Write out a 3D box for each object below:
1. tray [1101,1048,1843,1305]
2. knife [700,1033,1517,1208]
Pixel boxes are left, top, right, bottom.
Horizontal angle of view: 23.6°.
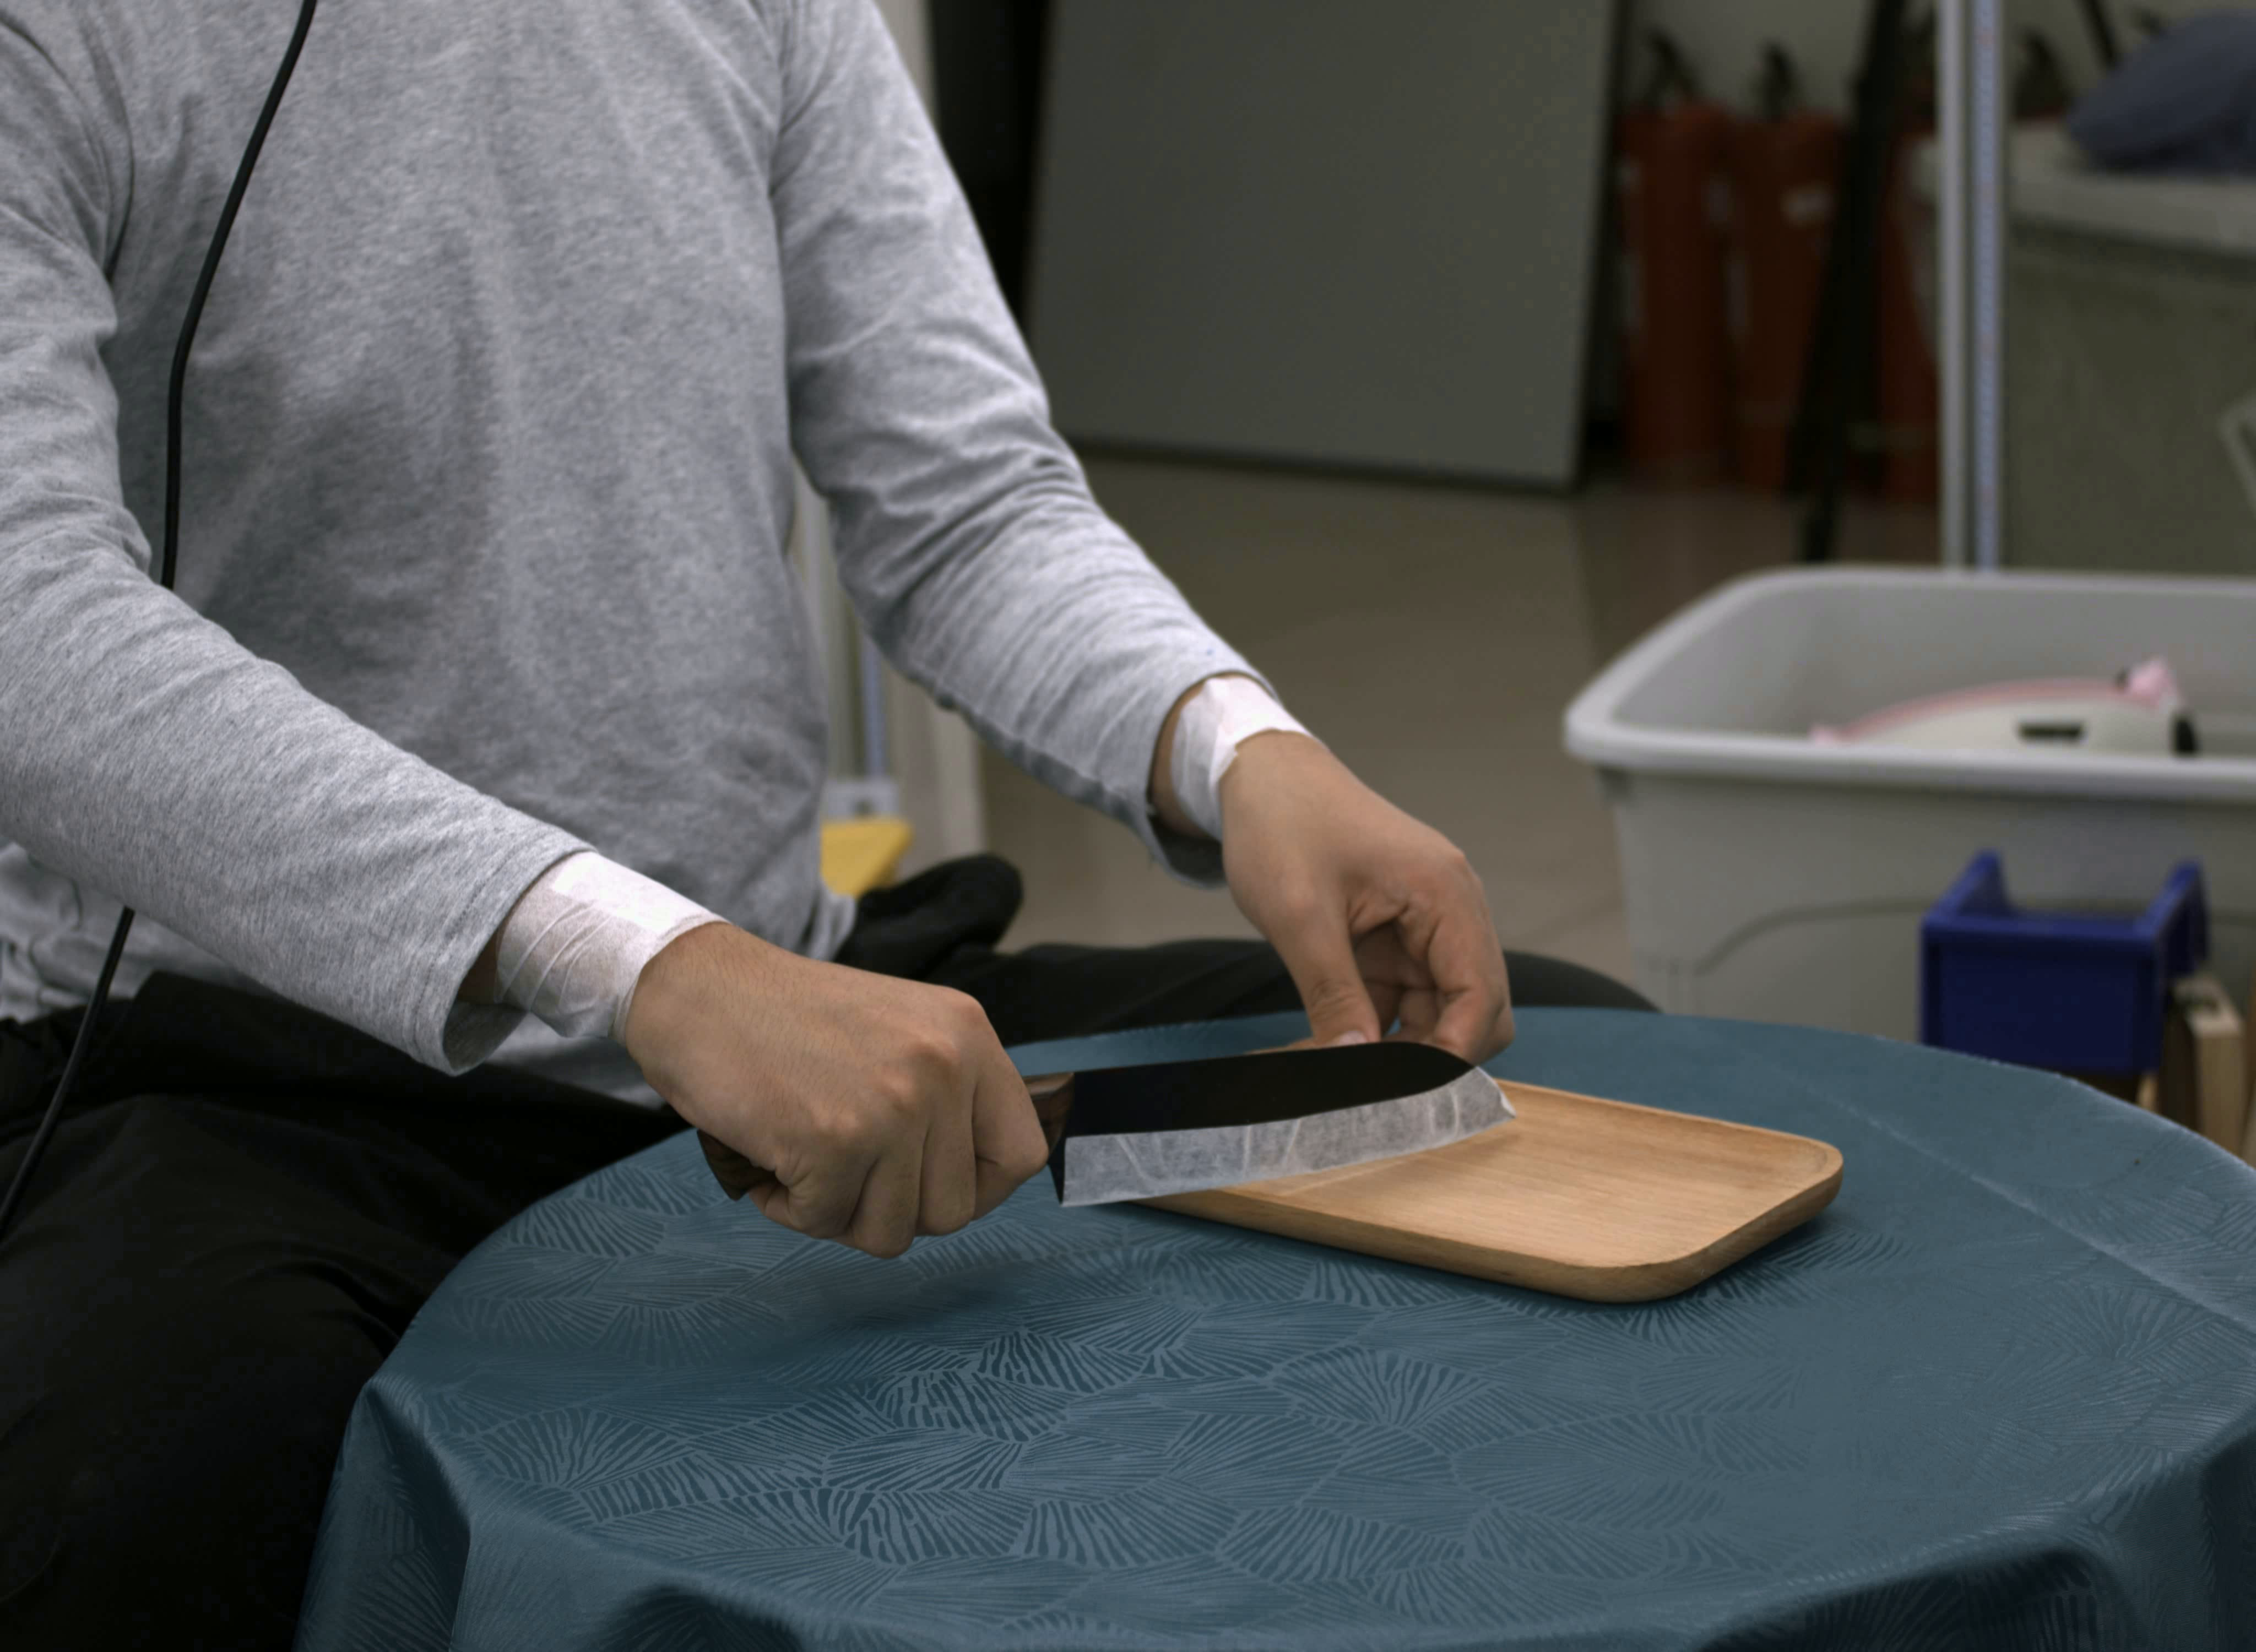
[{"bbox_3d":[0.104,0.111,1.740,0.253,0.023,0.128,8,19,43],"label":"tray"},{"bbox_3d":[-0.001,0.096,1.706,0.282,0.051,0.020,-3,10,-24],"label":"knife"}]
